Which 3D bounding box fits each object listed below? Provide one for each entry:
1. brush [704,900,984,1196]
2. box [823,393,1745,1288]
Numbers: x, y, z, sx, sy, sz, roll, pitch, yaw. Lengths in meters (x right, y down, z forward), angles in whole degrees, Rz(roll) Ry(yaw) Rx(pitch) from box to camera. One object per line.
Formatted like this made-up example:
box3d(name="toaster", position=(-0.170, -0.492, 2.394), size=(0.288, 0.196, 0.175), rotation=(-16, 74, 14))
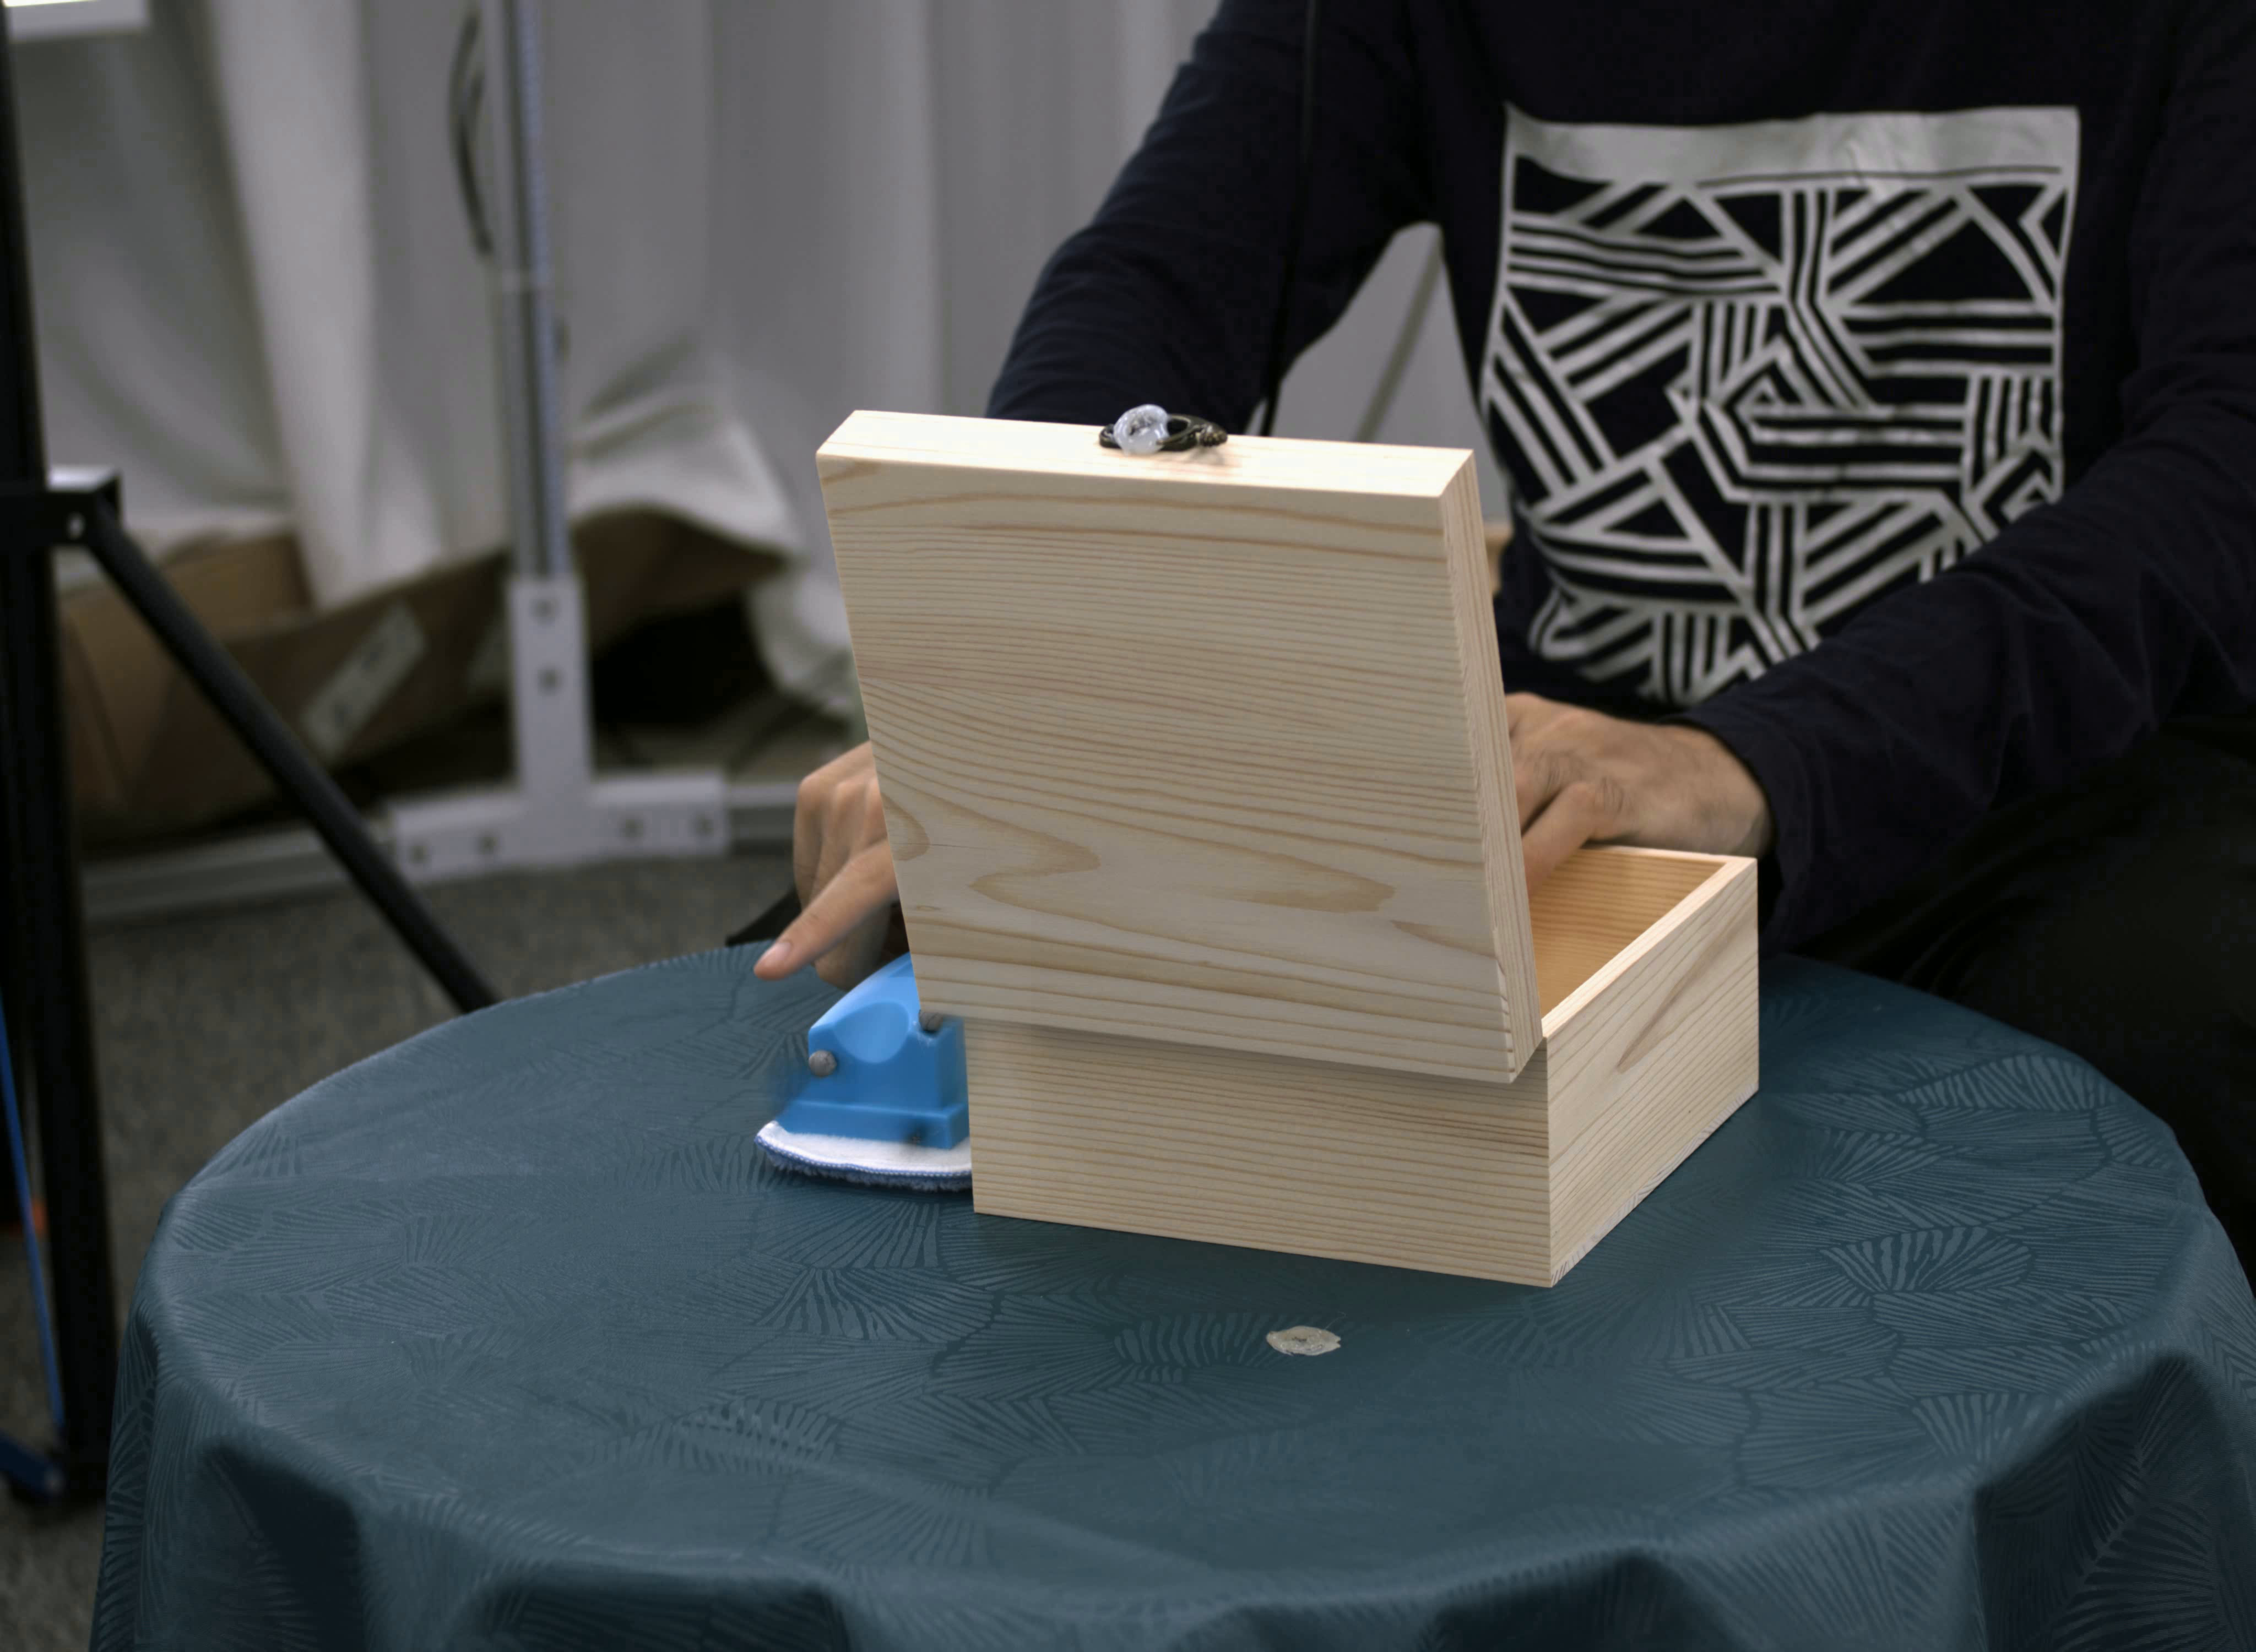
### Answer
box3d(name="brush", position=(-0.071, 0.063, 1.635), size=(0.084, 0.056, 0.143), rotation=(12, 23, 14))
box3d(name="box", position=(0.055, -0.015, 1.526), size=(0.184, 0.253, 0.261), rotation=(6, 17, 24))
